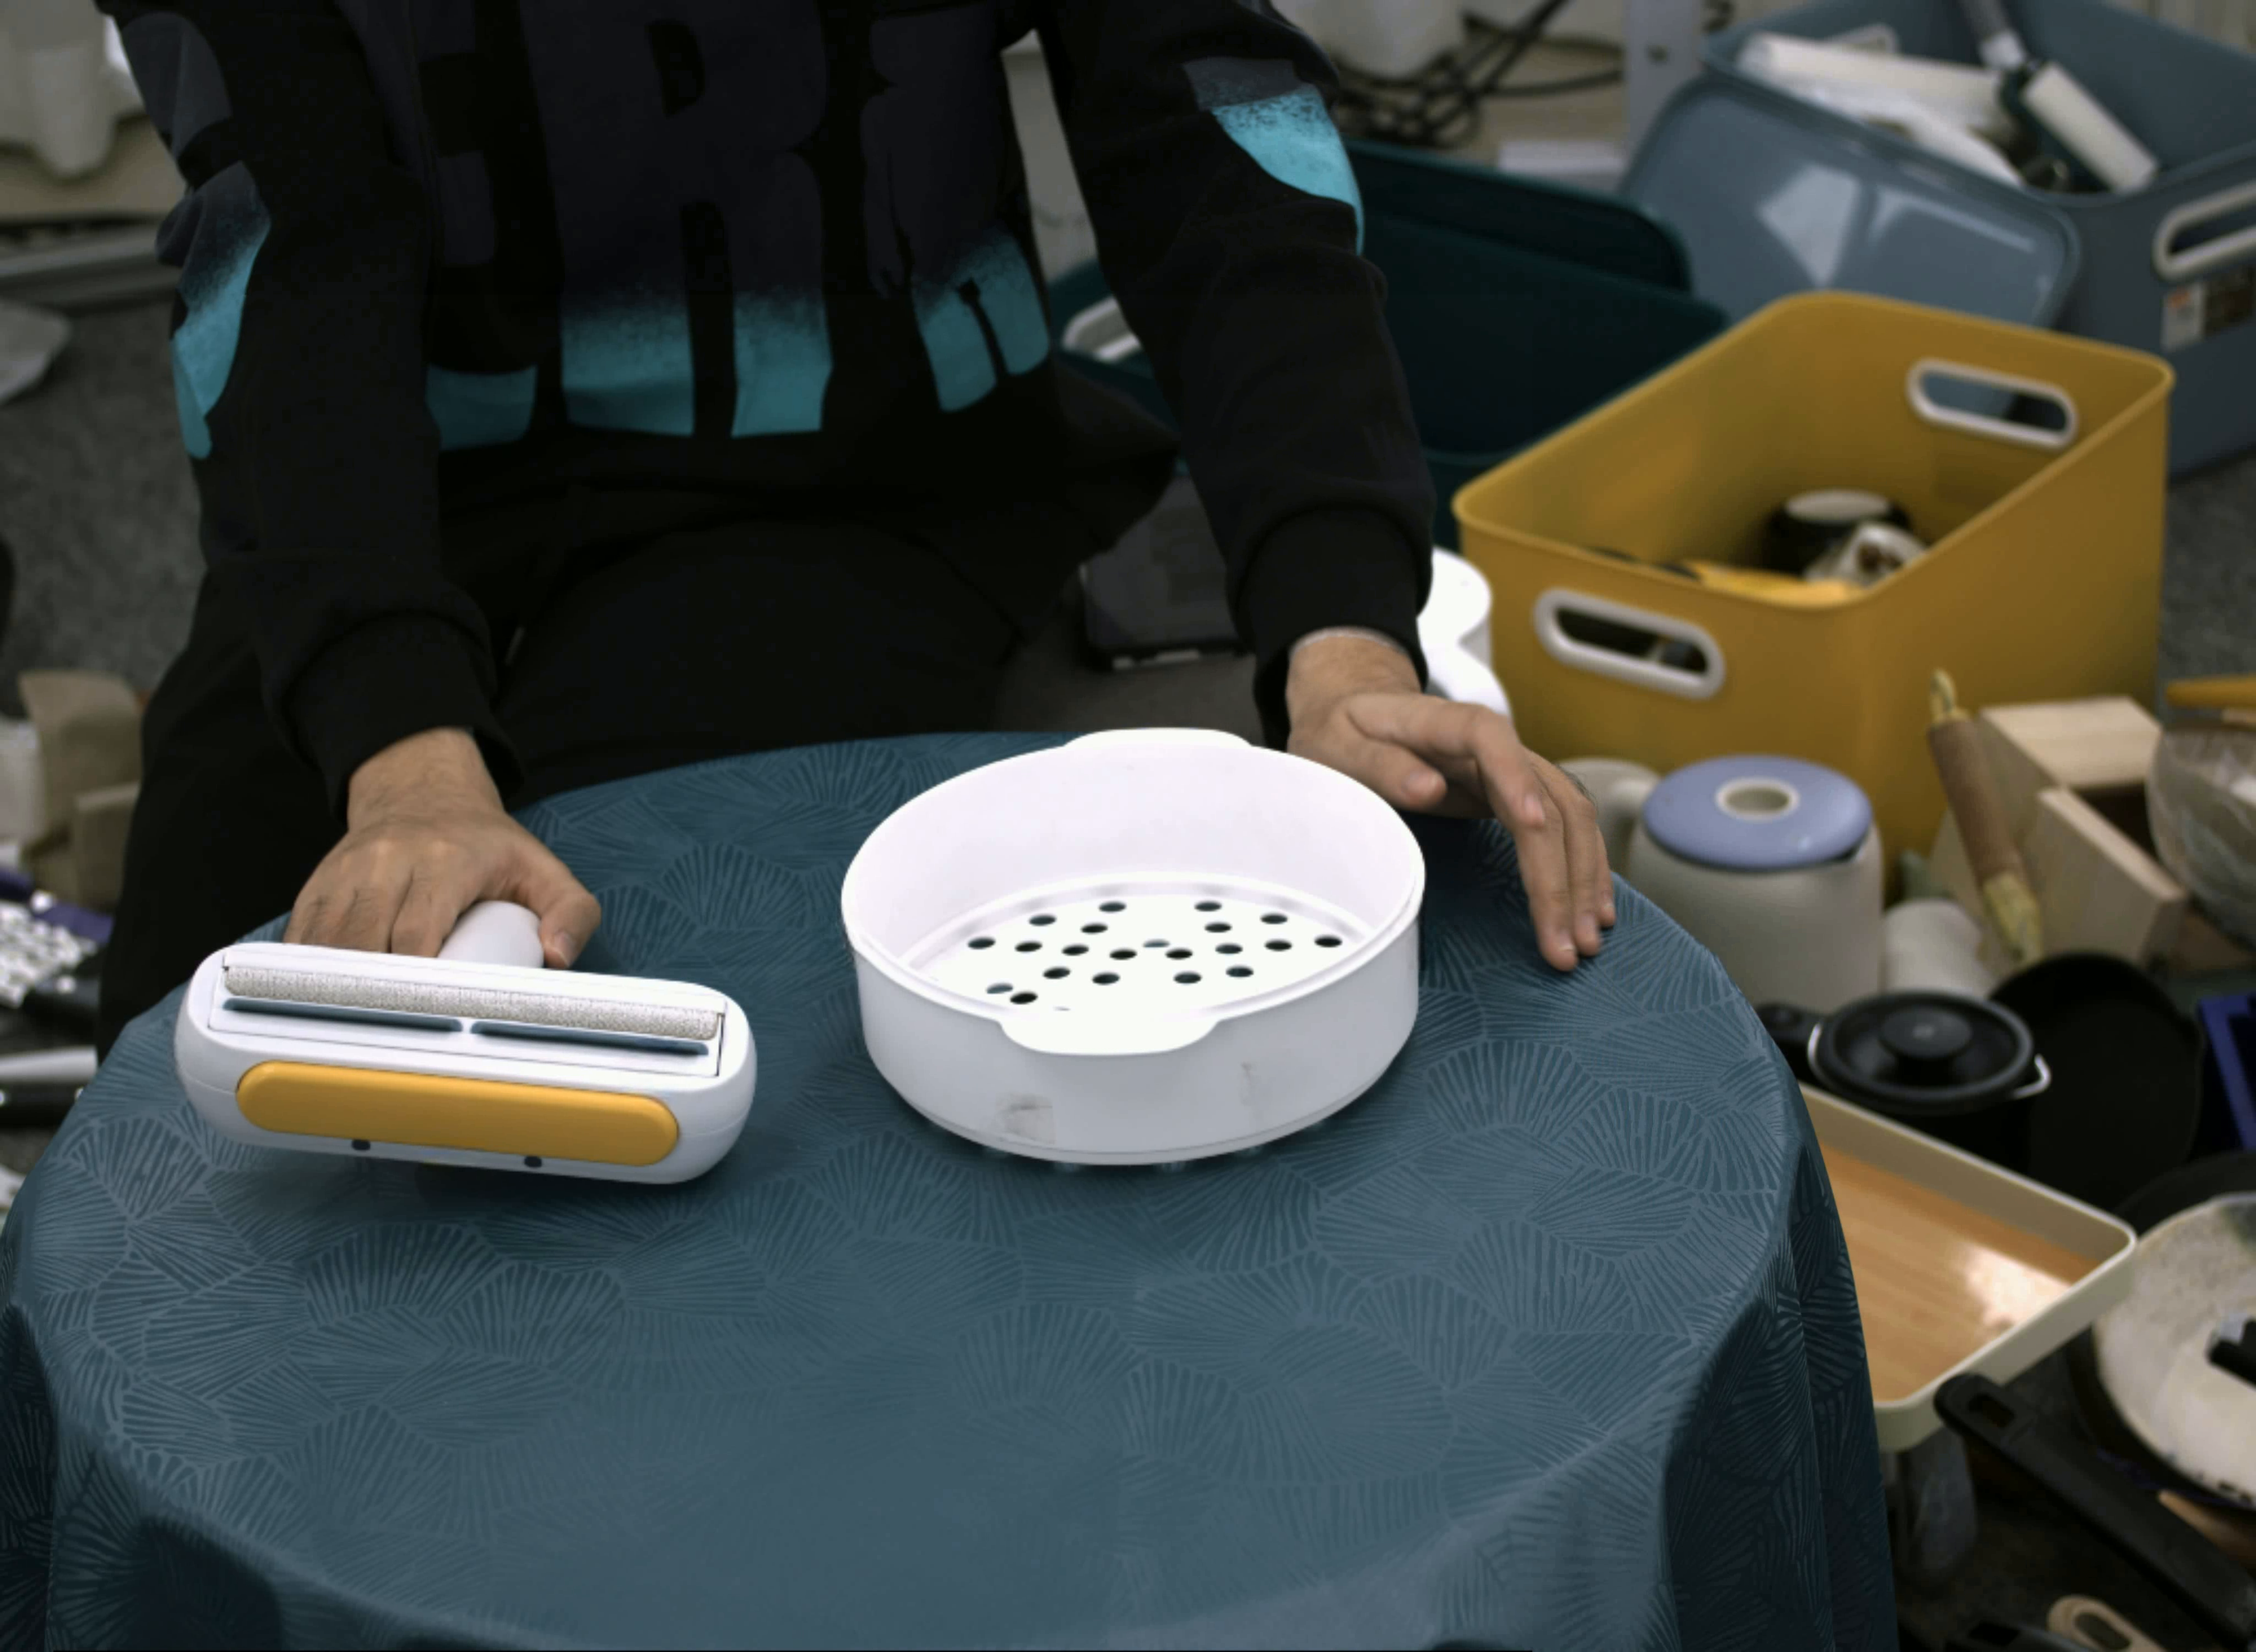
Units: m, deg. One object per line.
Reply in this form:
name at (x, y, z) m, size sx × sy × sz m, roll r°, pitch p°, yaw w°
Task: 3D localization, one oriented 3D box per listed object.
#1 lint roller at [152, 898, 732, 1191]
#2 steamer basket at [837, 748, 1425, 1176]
lint roller at (-0.226, 0.060, 1.929) m, size 0.192 × 0.073 × 0.195 m, roll 3°, pitch 26°, yaw 1°
steamer basket at (0.002, 0.048, 1.931) m, size 0.201 × 0.068 × 0.234 m, roll 1°, pitch 26°, yaw 5°
